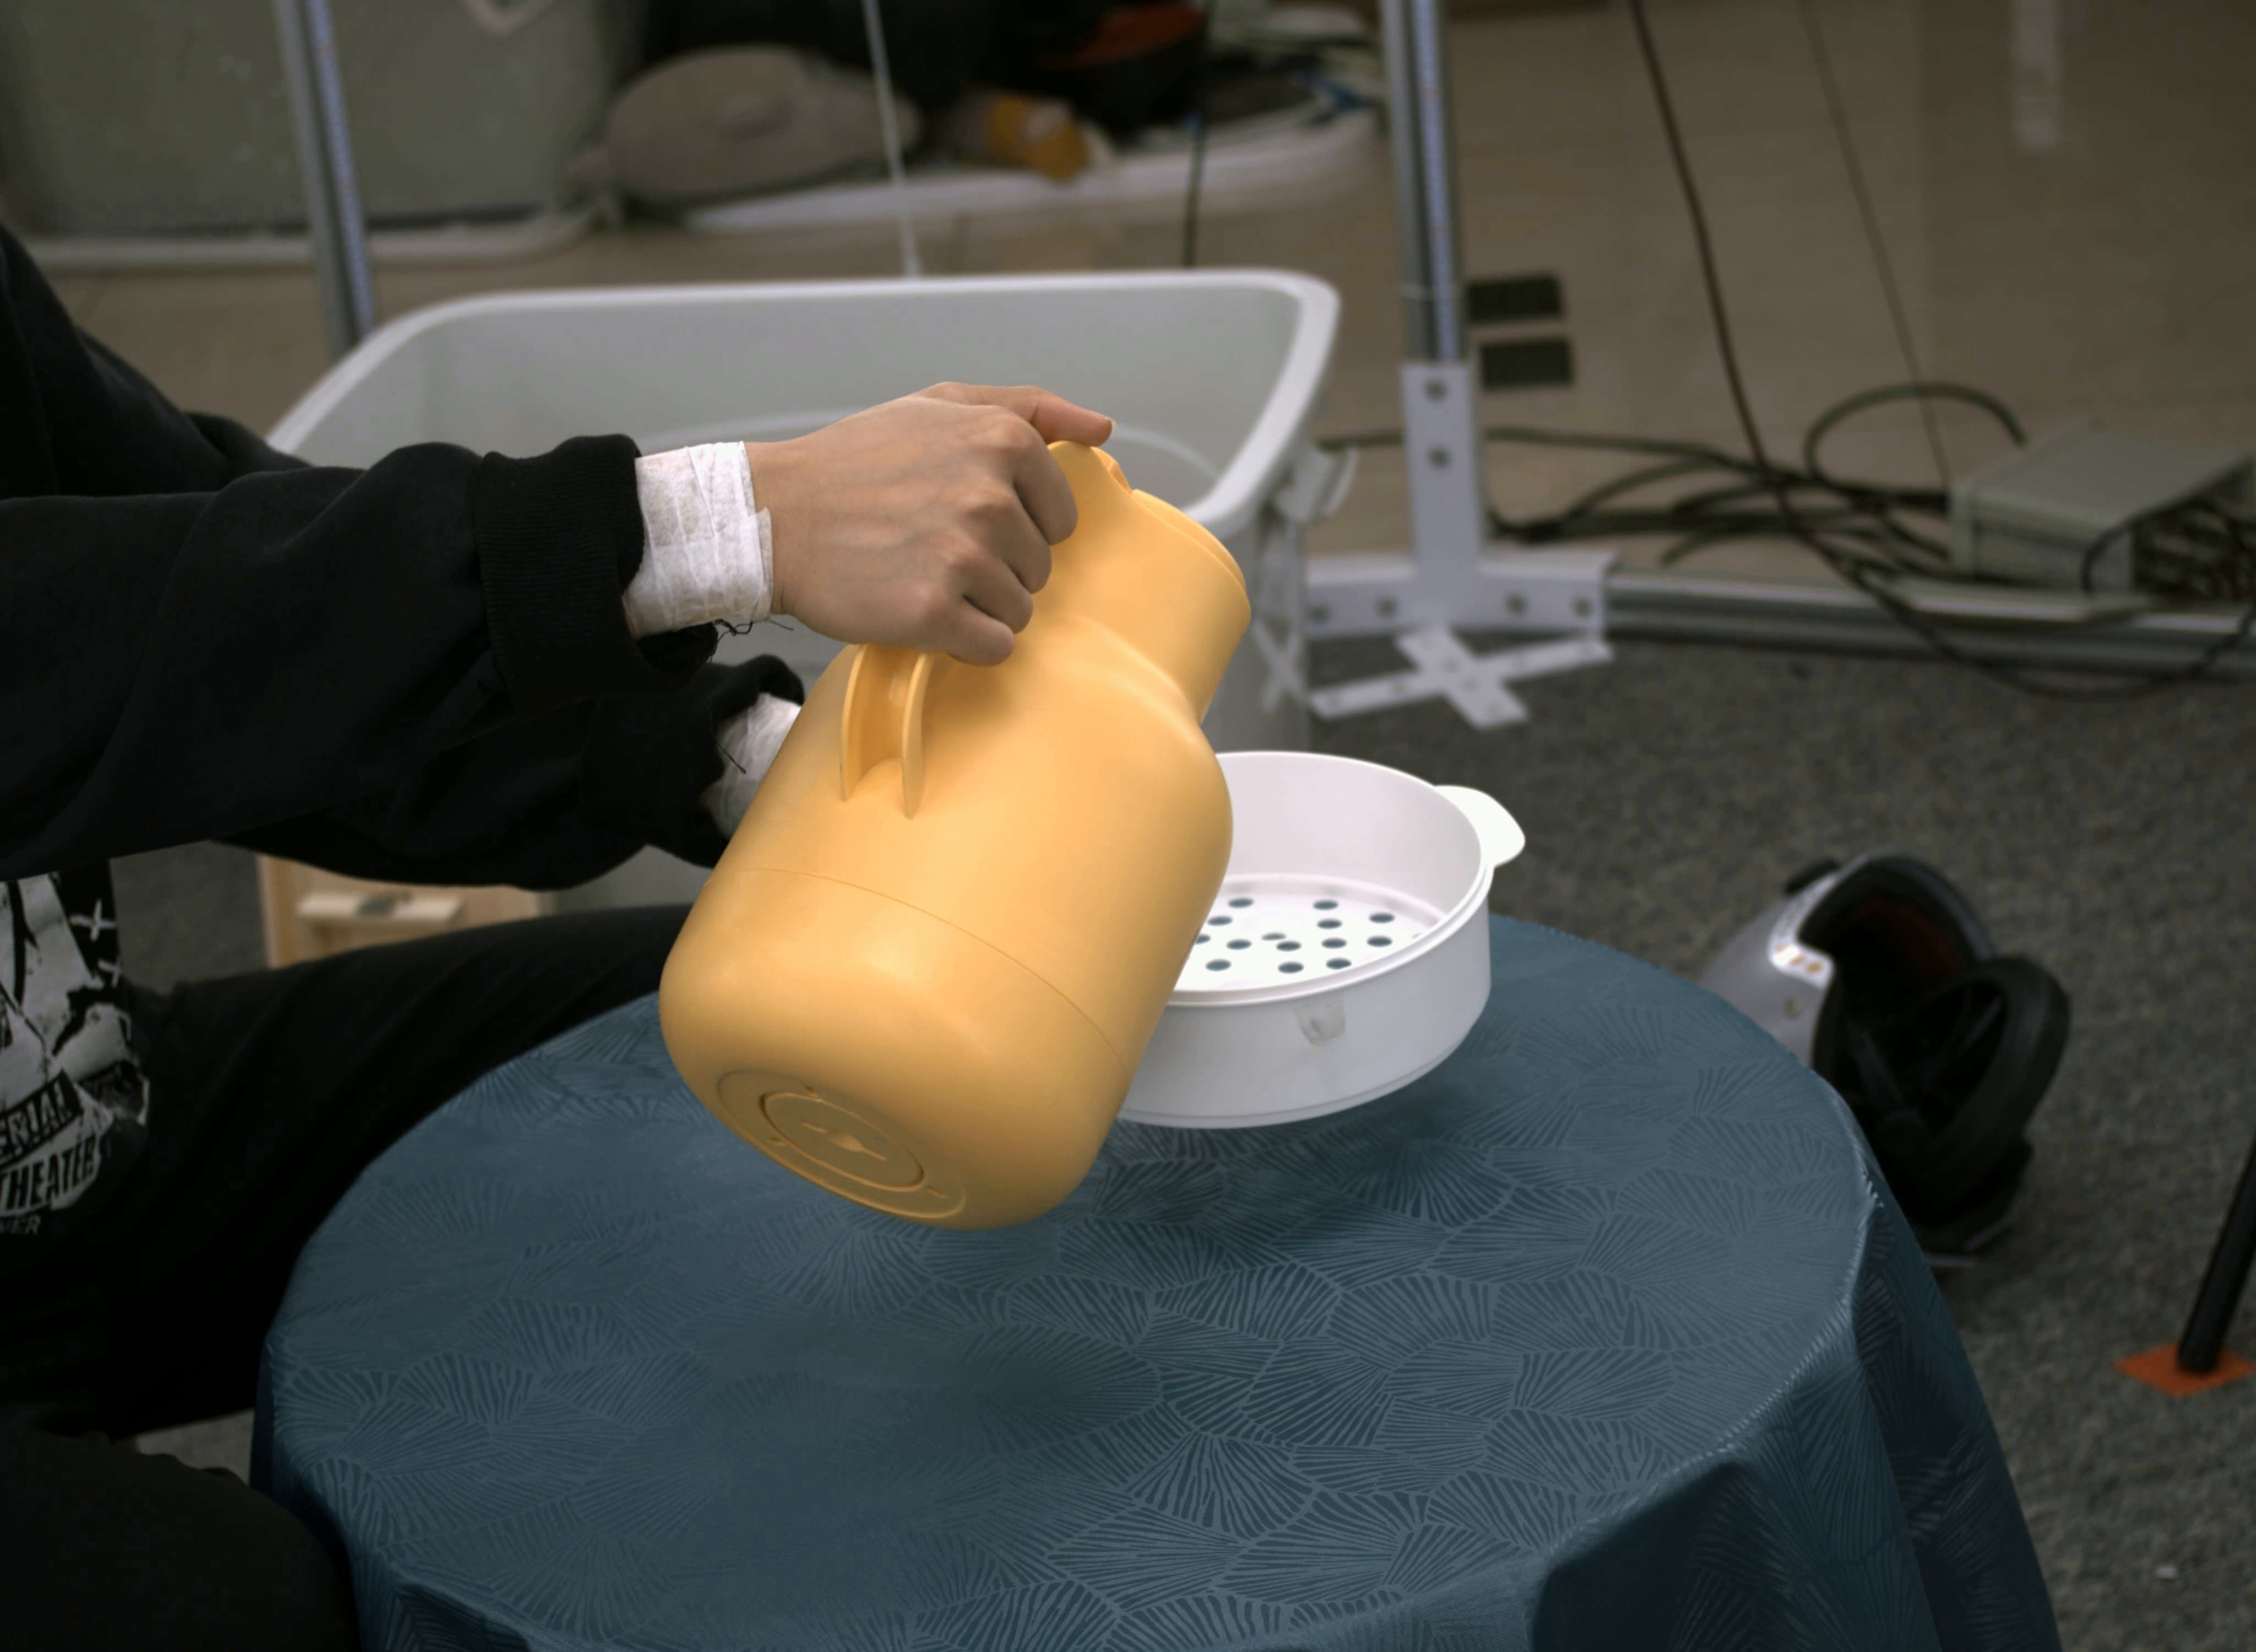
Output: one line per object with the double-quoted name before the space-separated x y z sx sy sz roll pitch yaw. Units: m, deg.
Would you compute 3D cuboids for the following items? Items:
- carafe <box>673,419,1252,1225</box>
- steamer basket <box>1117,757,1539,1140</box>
"carafe" -0.051 -0.011 1.969 0.162 0.206 0.257 11 63 27
"steamer basket" 0.047 0.047 2.179 0.230 0.070 0.199 -13 29 -13
